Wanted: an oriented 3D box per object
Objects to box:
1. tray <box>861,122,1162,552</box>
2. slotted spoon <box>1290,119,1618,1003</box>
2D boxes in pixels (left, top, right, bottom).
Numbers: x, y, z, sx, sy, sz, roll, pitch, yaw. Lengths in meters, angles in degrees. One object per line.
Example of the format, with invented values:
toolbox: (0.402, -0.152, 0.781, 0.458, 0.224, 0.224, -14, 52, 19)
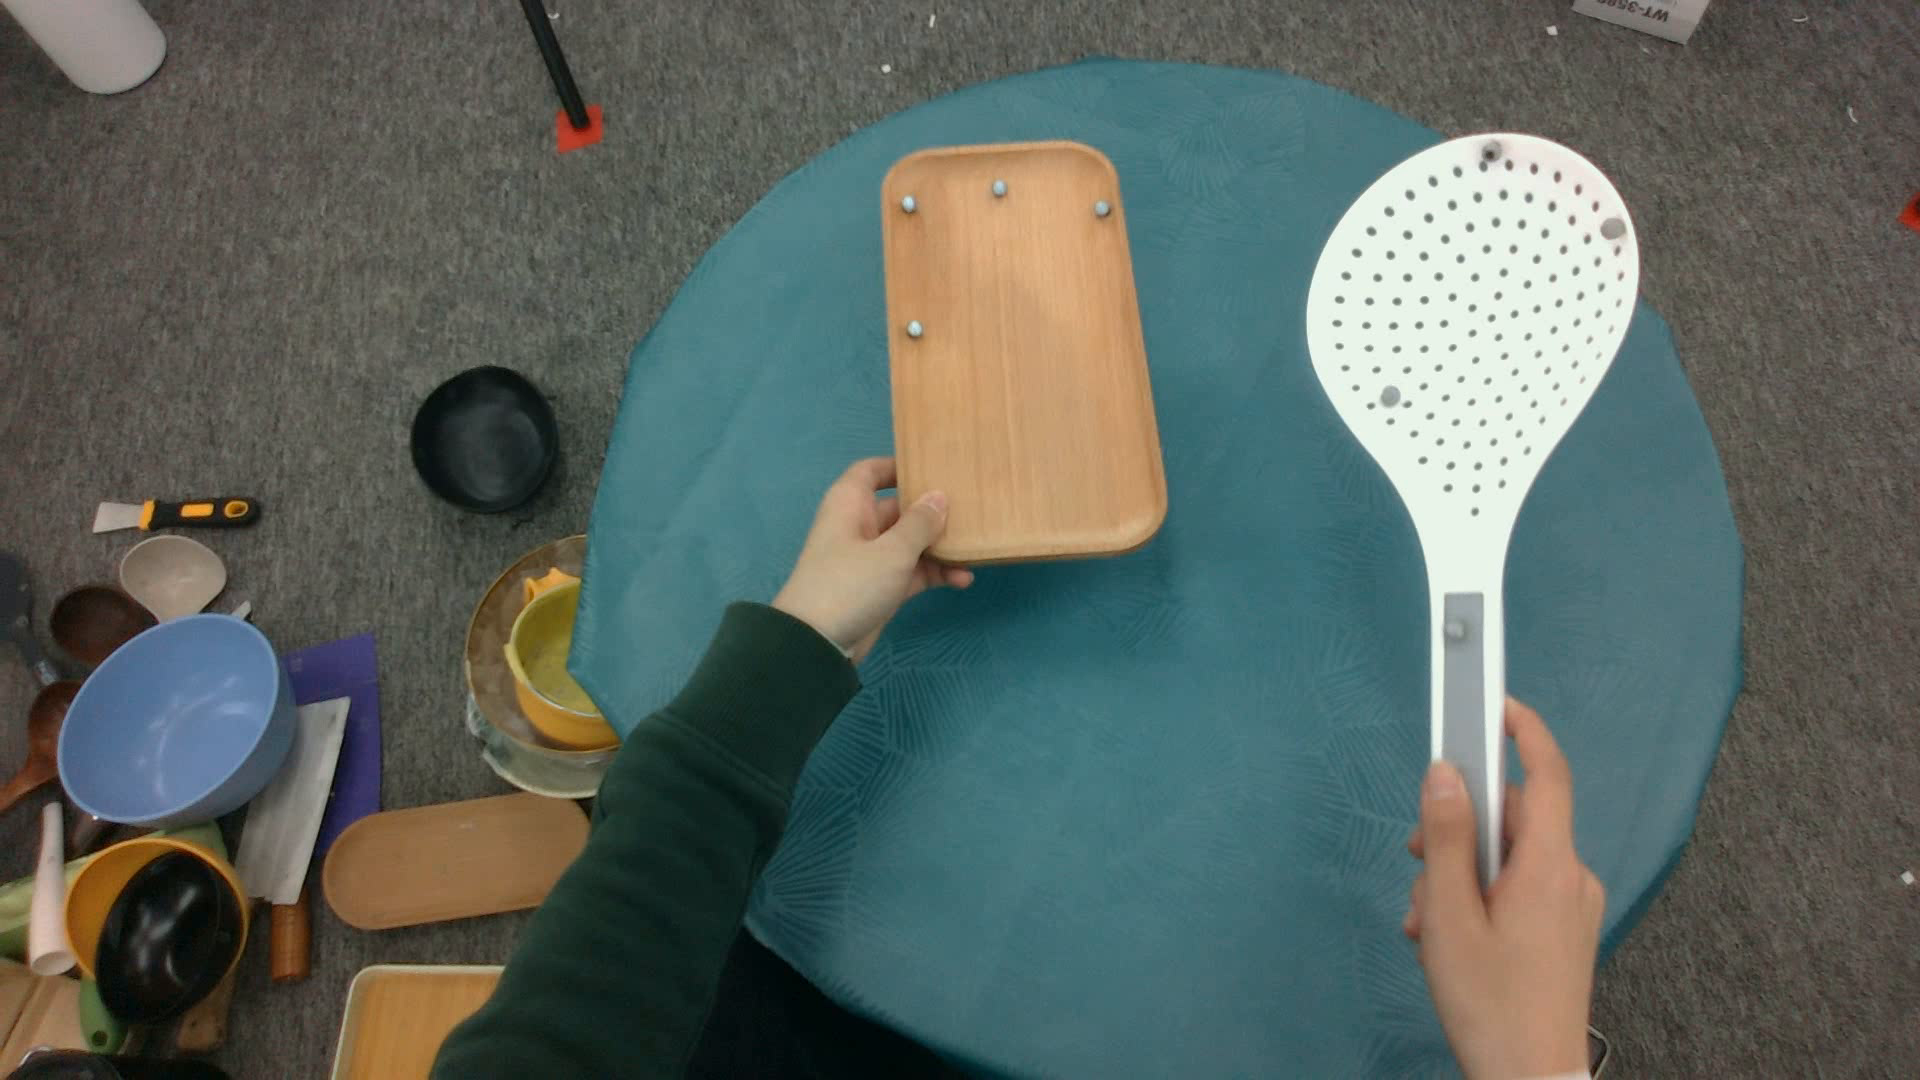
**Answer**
tray: (0.021, -0.108, 0.687, 0.130, 0.023, 0.251, -5, 64, -1)
slotted spoon: (0.197, 0.003, 0.552, 0.135, 0.046, 0.350, -4, 76, 41)
